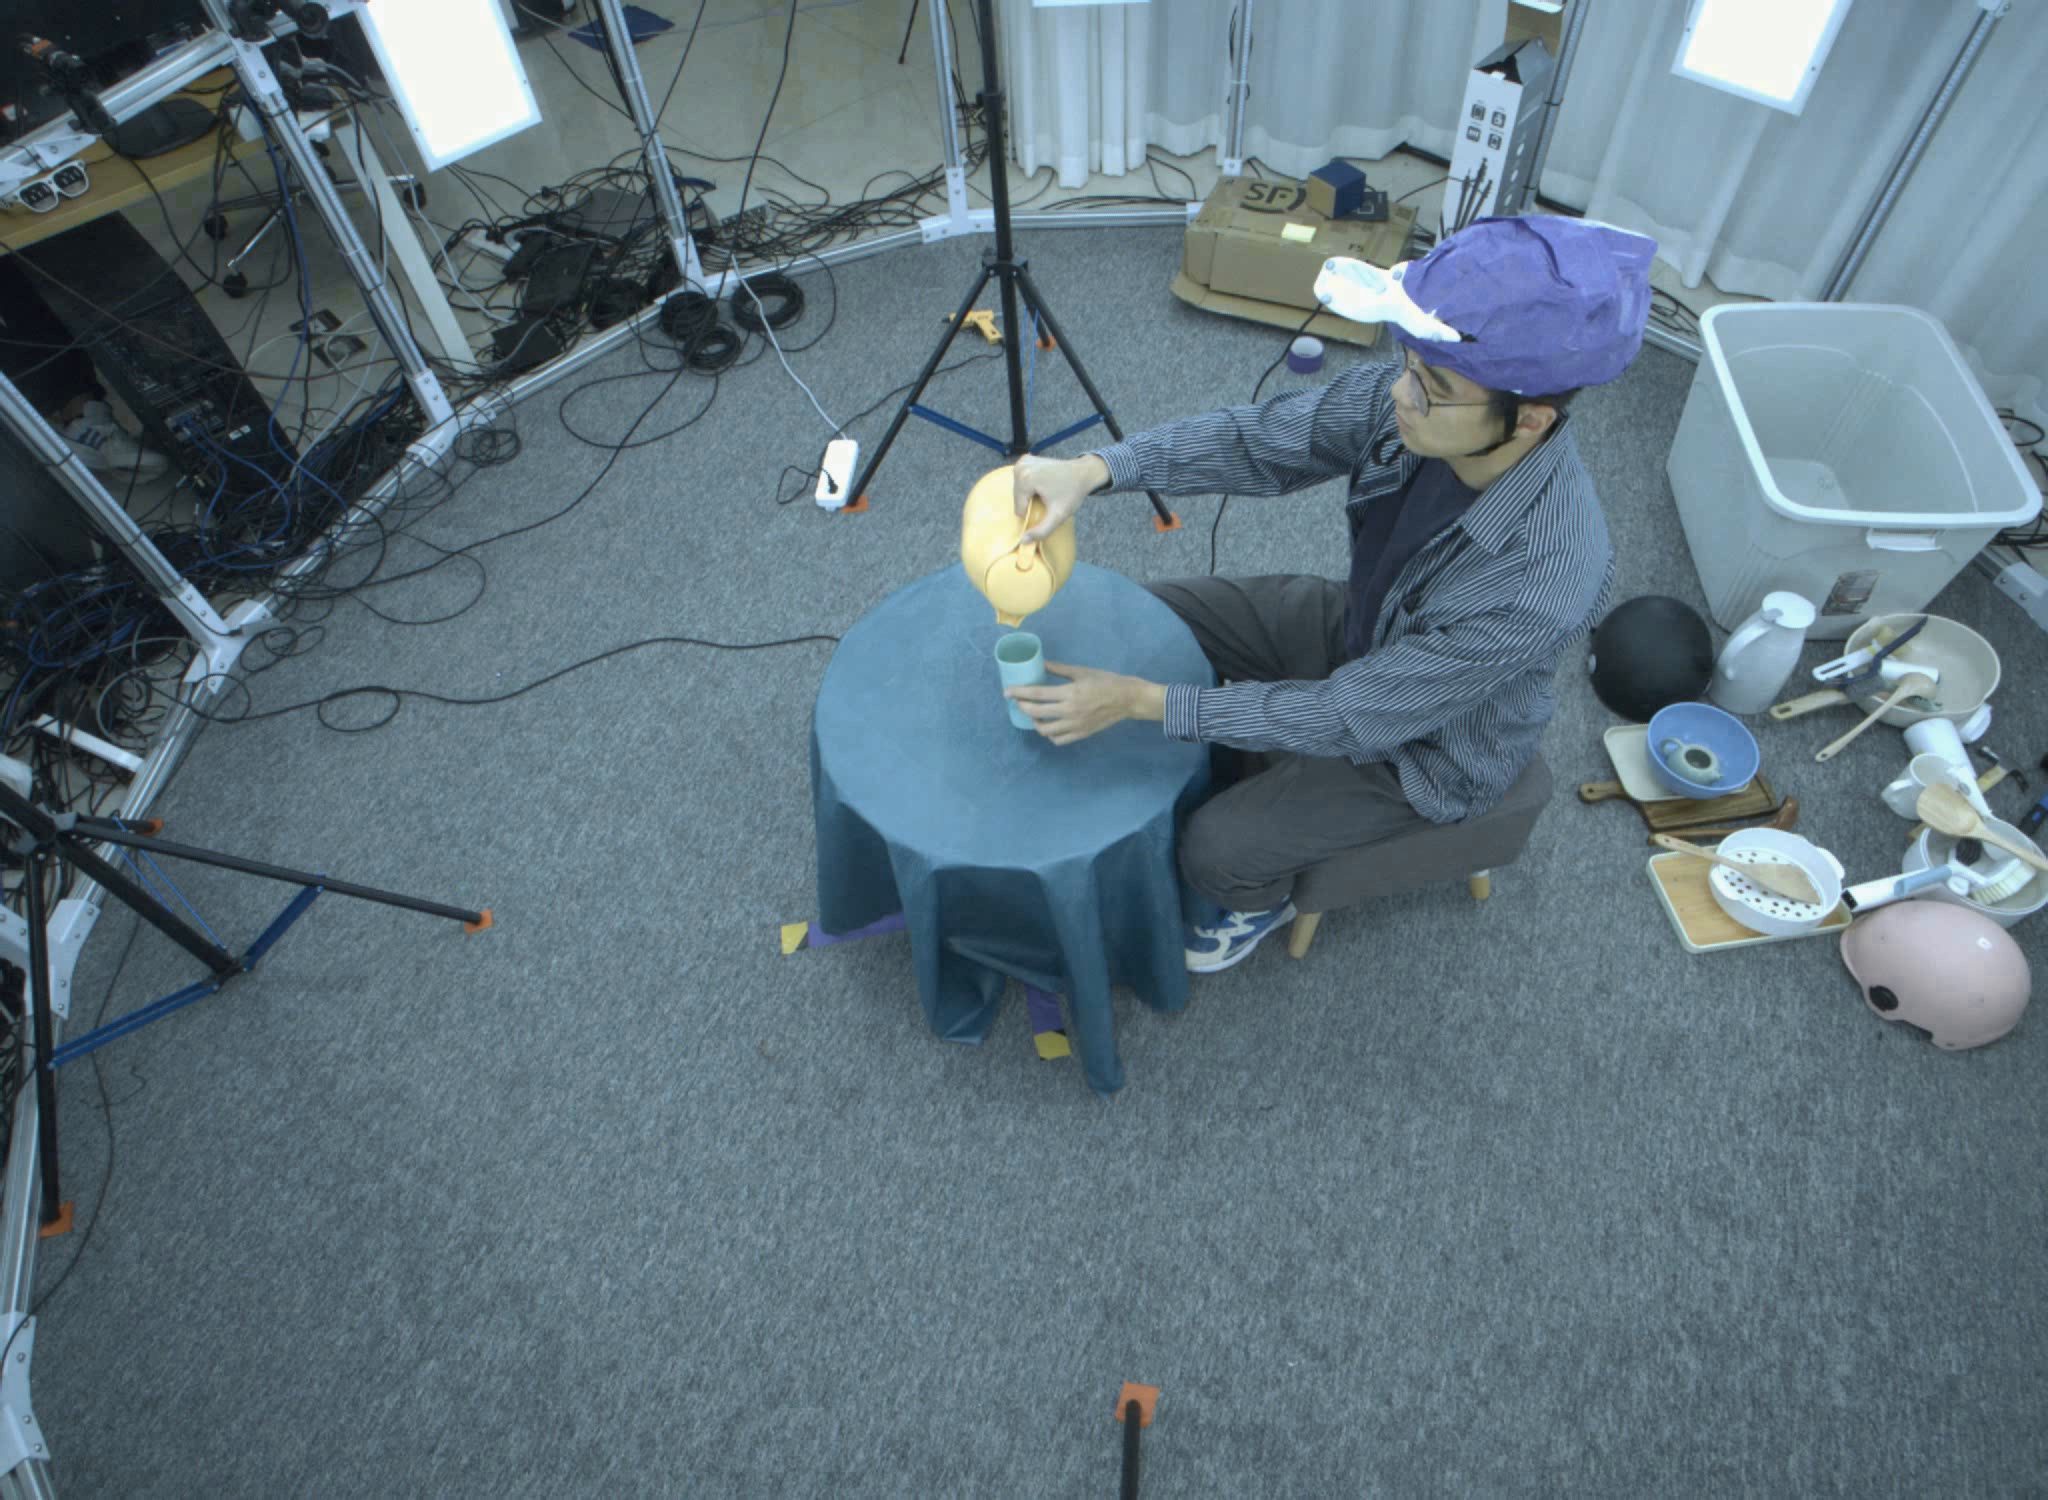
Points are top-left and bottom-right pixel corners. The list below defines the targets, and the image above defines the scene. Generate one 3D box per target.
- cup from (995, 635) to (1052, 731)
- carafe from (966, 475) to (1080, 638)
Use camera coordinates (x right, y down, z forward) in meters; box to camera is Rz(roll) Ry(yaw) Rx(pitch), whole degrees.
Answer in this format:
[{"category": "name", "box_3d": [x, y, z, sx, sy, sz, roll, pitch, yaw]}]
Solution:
[{"category": "cup", "box_3d": [0.002, -0.093, 1.733, 0.066, 0.134, 0.066, -5, 48, 7]}, {"category": "carafe", "box_3d": [0.004, -0.288, 1.715, 0.165, 0.203, 0.257, 10, 34, -9]}]
